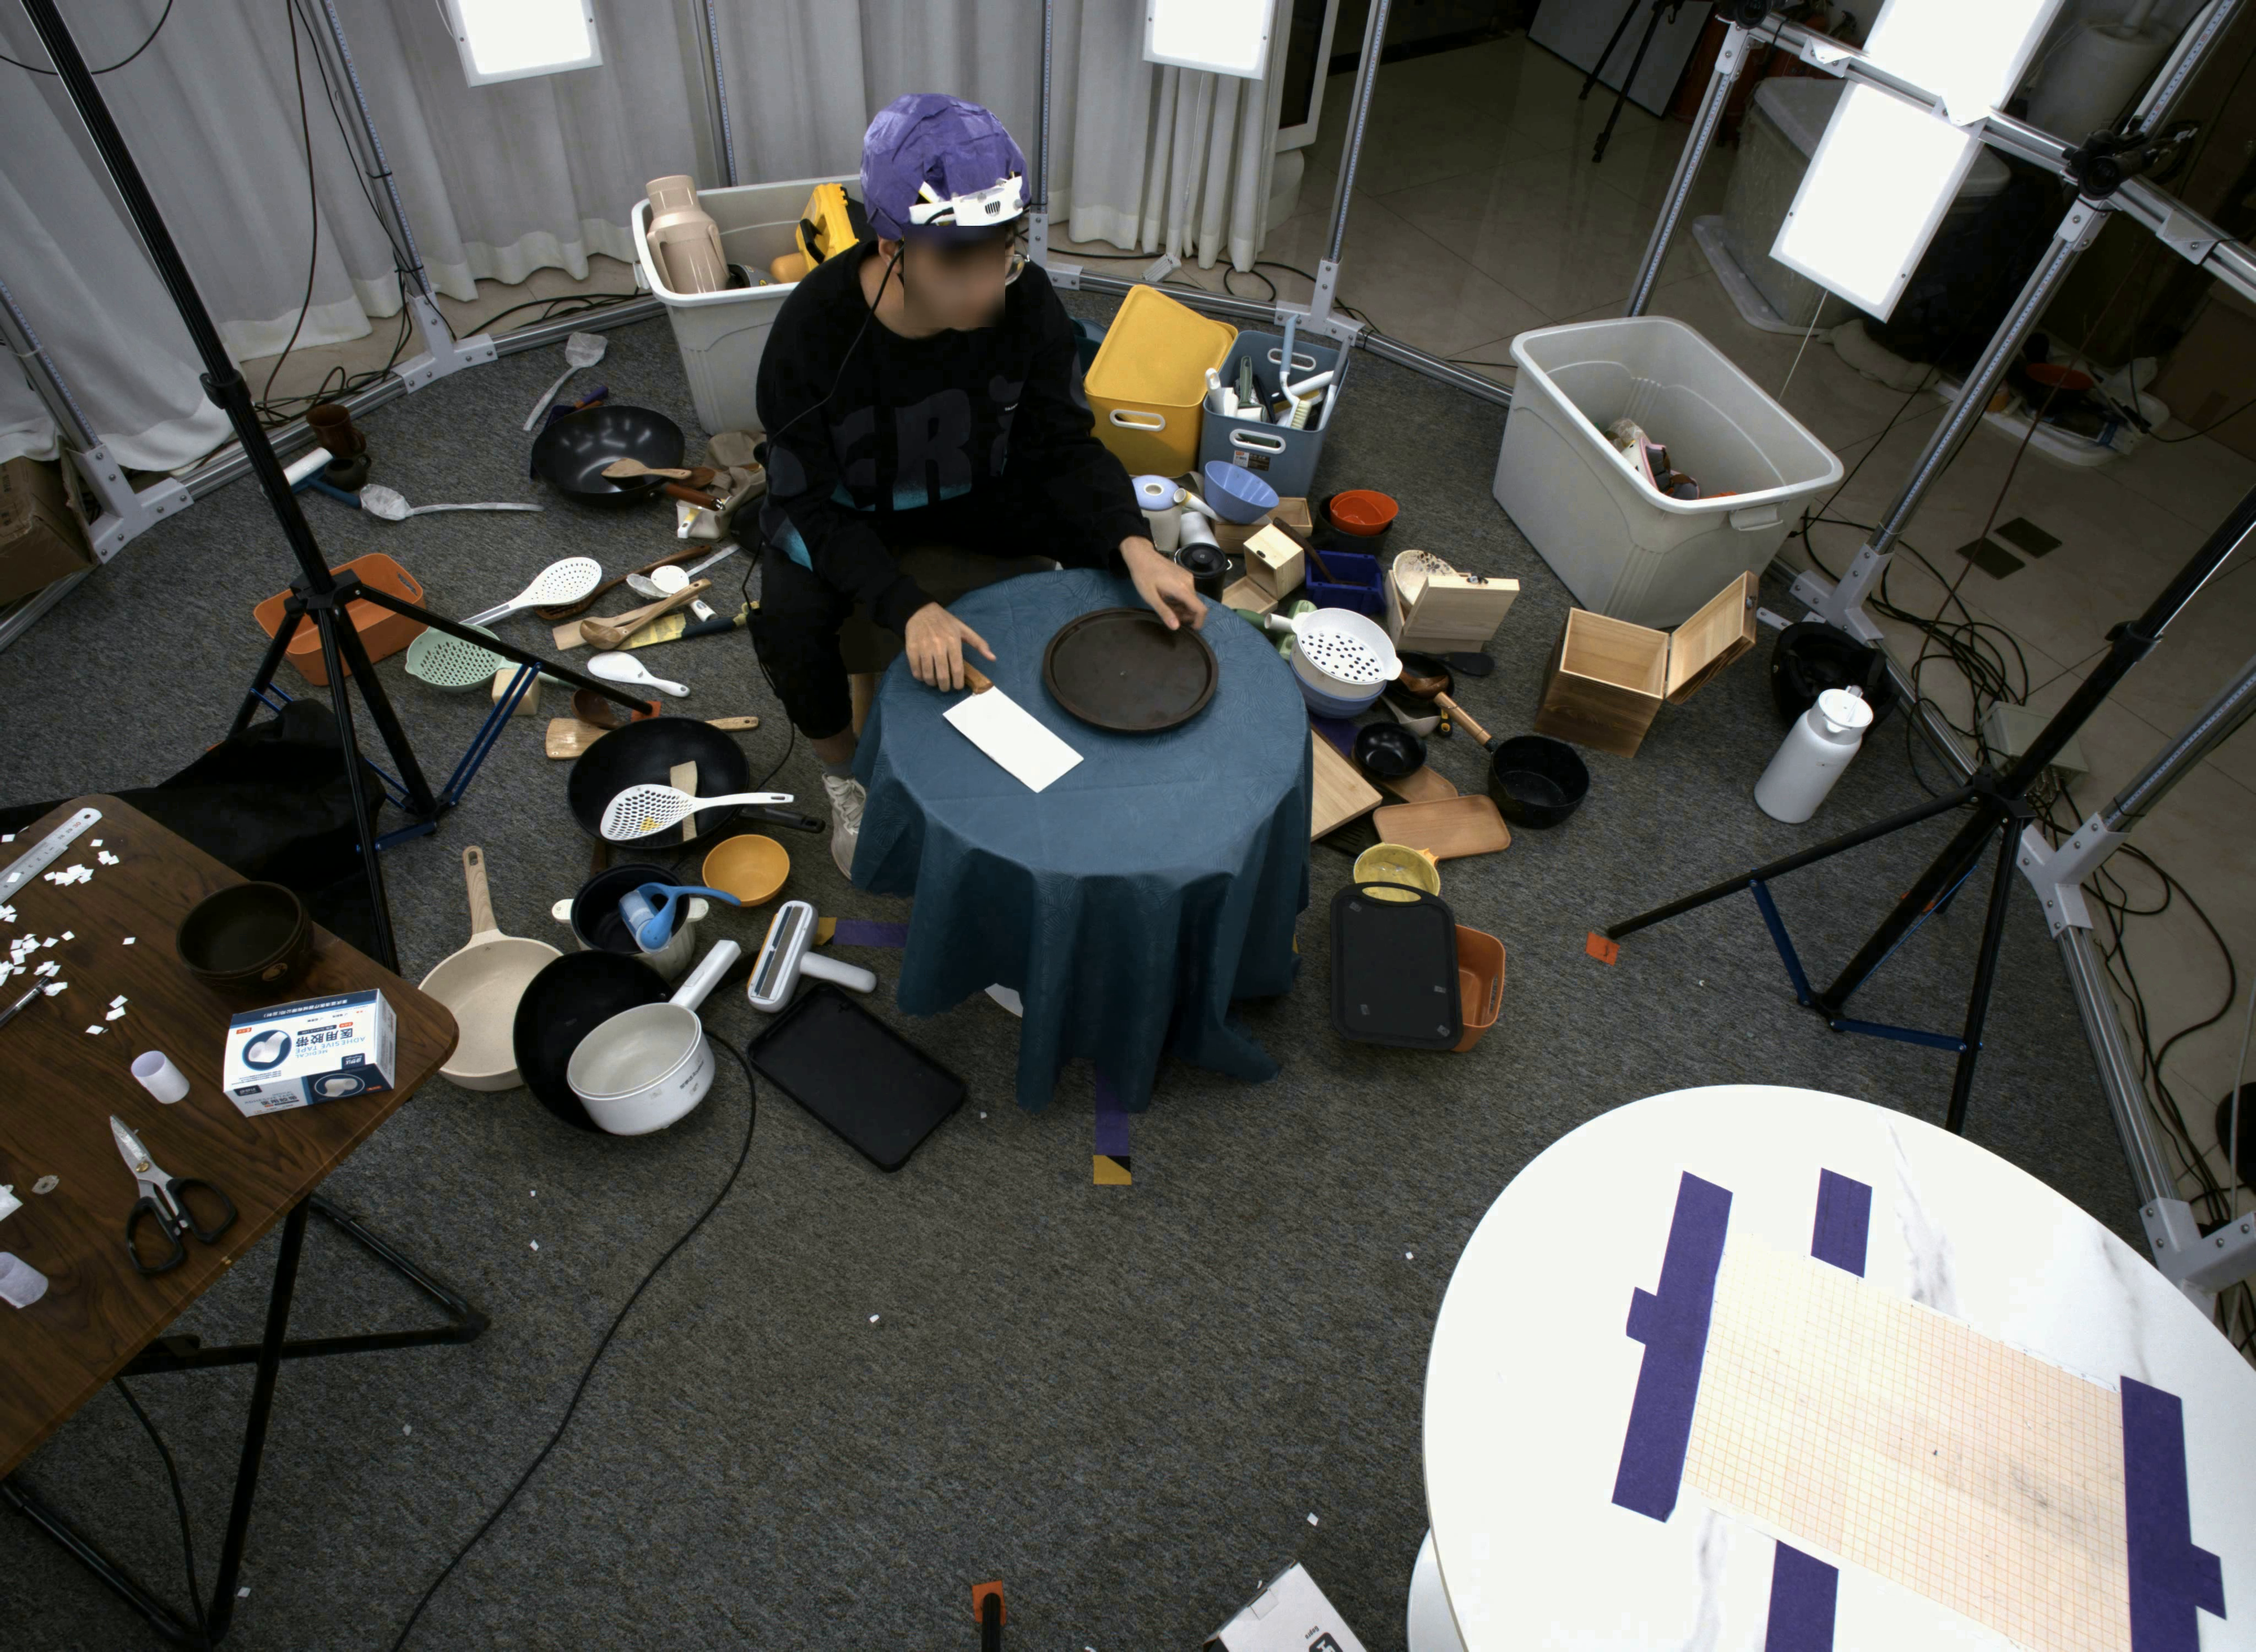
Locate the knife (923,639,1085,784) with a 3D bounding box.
[{"bbox_3d":[-0.194,-0.157,1.782,0.310,0.020,0.094,39,59,24],"label":"knife"}]

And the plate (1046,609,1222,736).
[{"bbox_3d":[0.008,-0.223,1.846,0.254,0.028,0.261,1,51,-2],"label":"plate"}]
